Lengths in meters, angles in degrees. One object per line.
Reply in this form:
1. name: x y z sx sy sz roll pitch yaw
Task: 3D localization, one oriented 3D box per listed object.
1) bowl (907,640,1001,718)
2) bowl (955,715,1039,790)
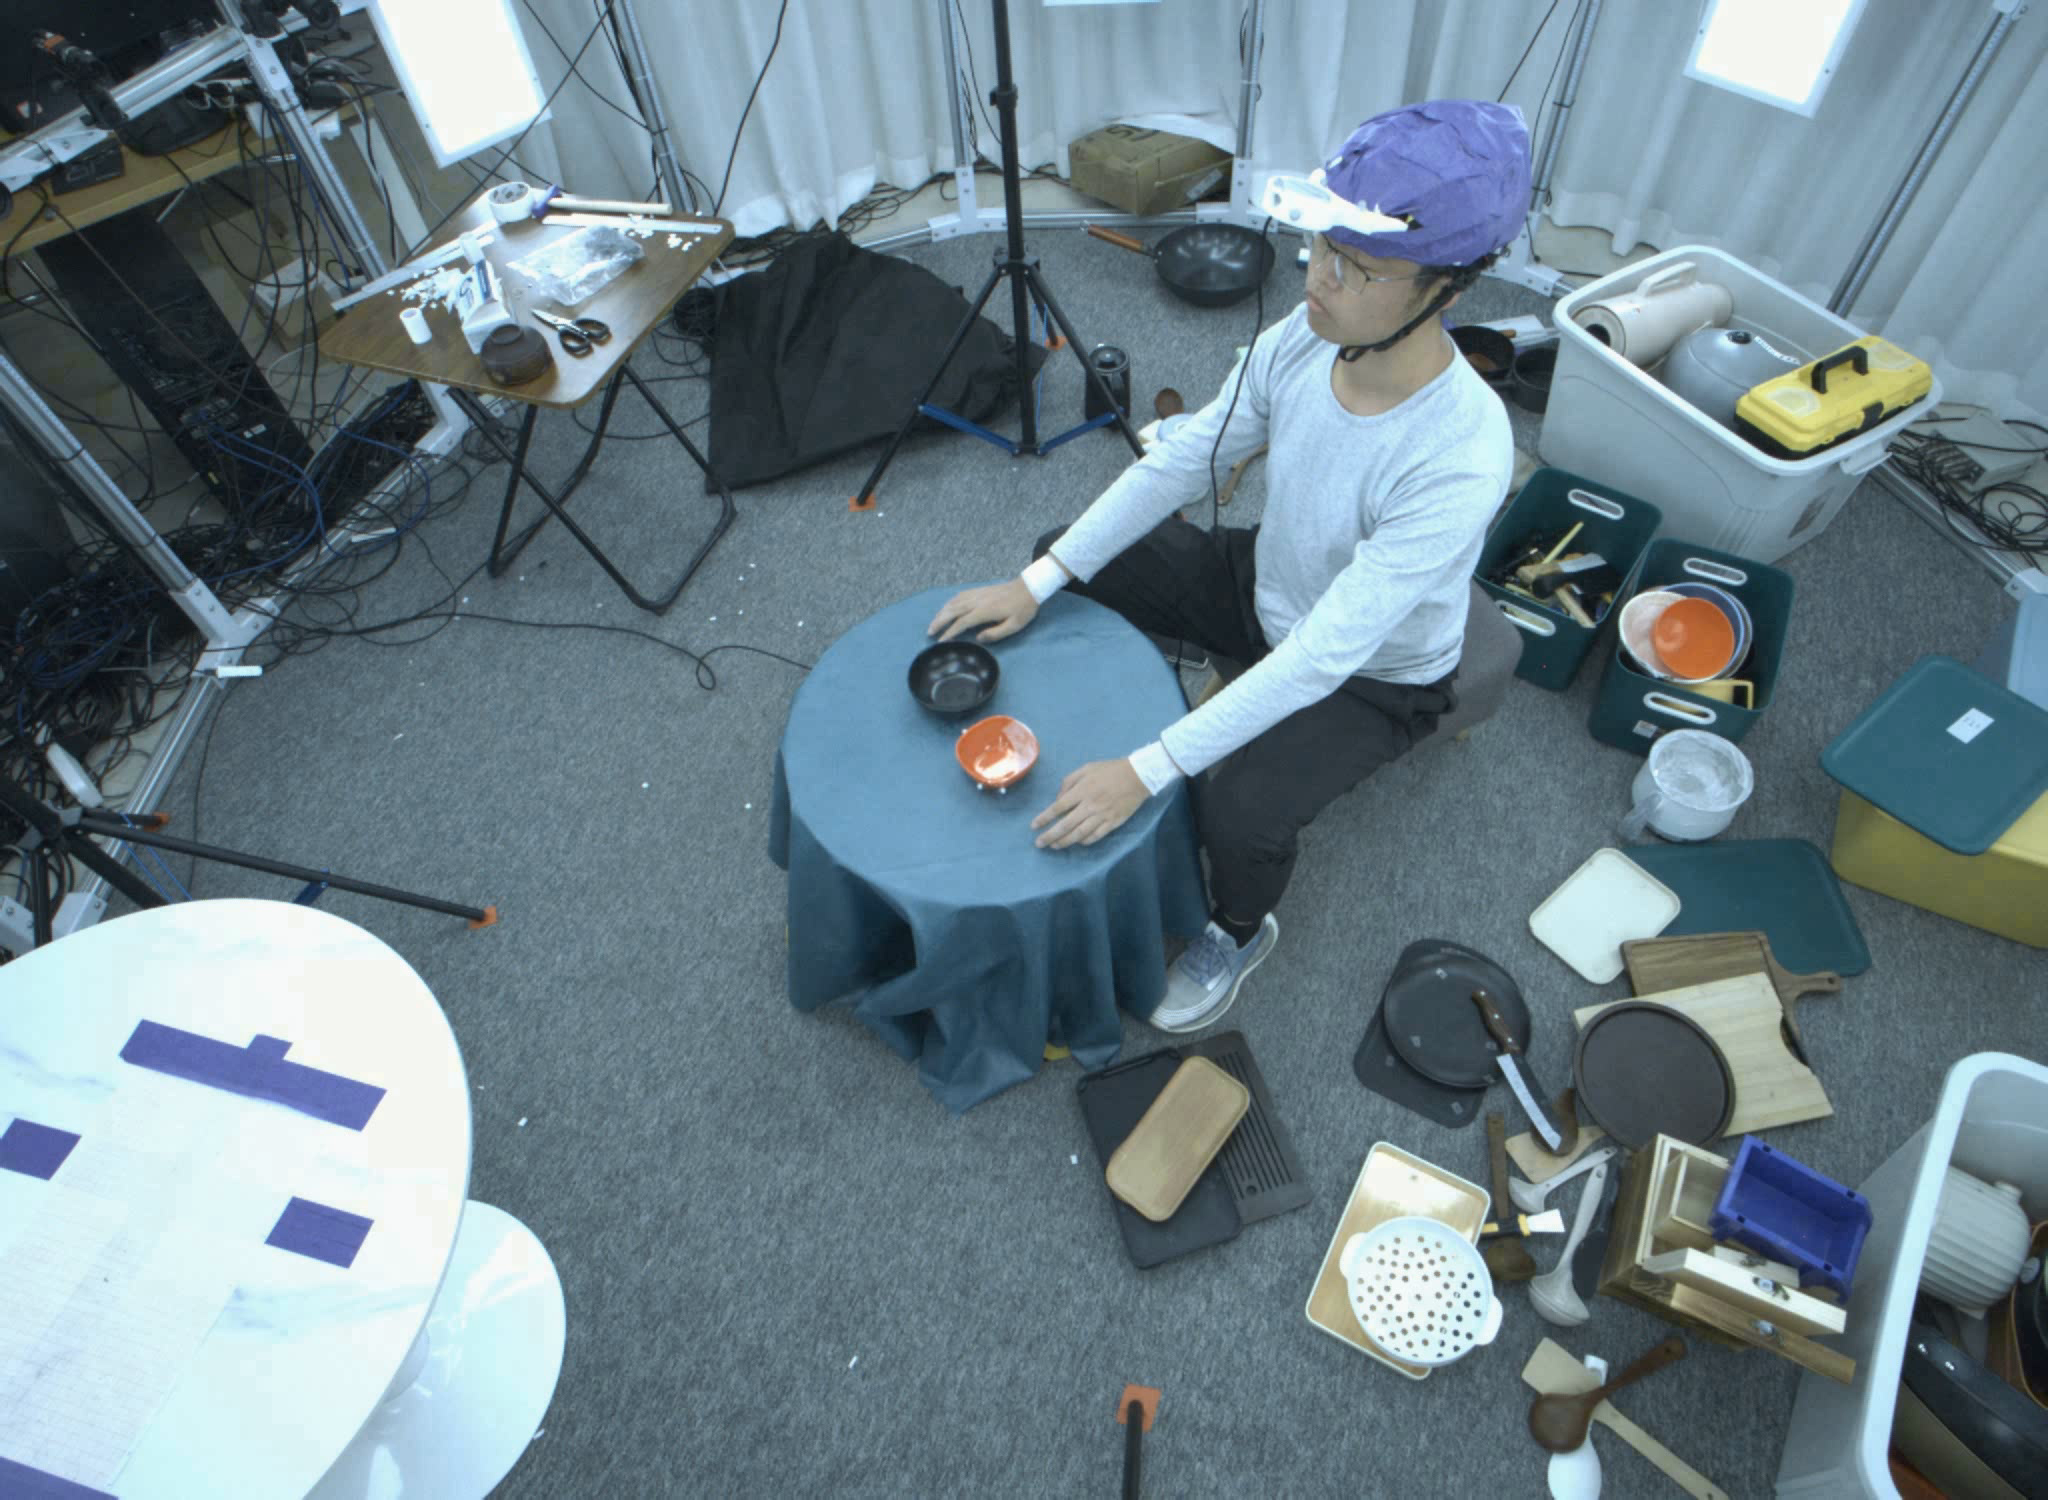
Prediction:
1. bowl: -0.104 -0.098 1.840 0.140 0.050 0.138 1 53 -1
2. bowl: -0.036 0.012 1.752 0.118 0.052 0.118 -3 56 5
